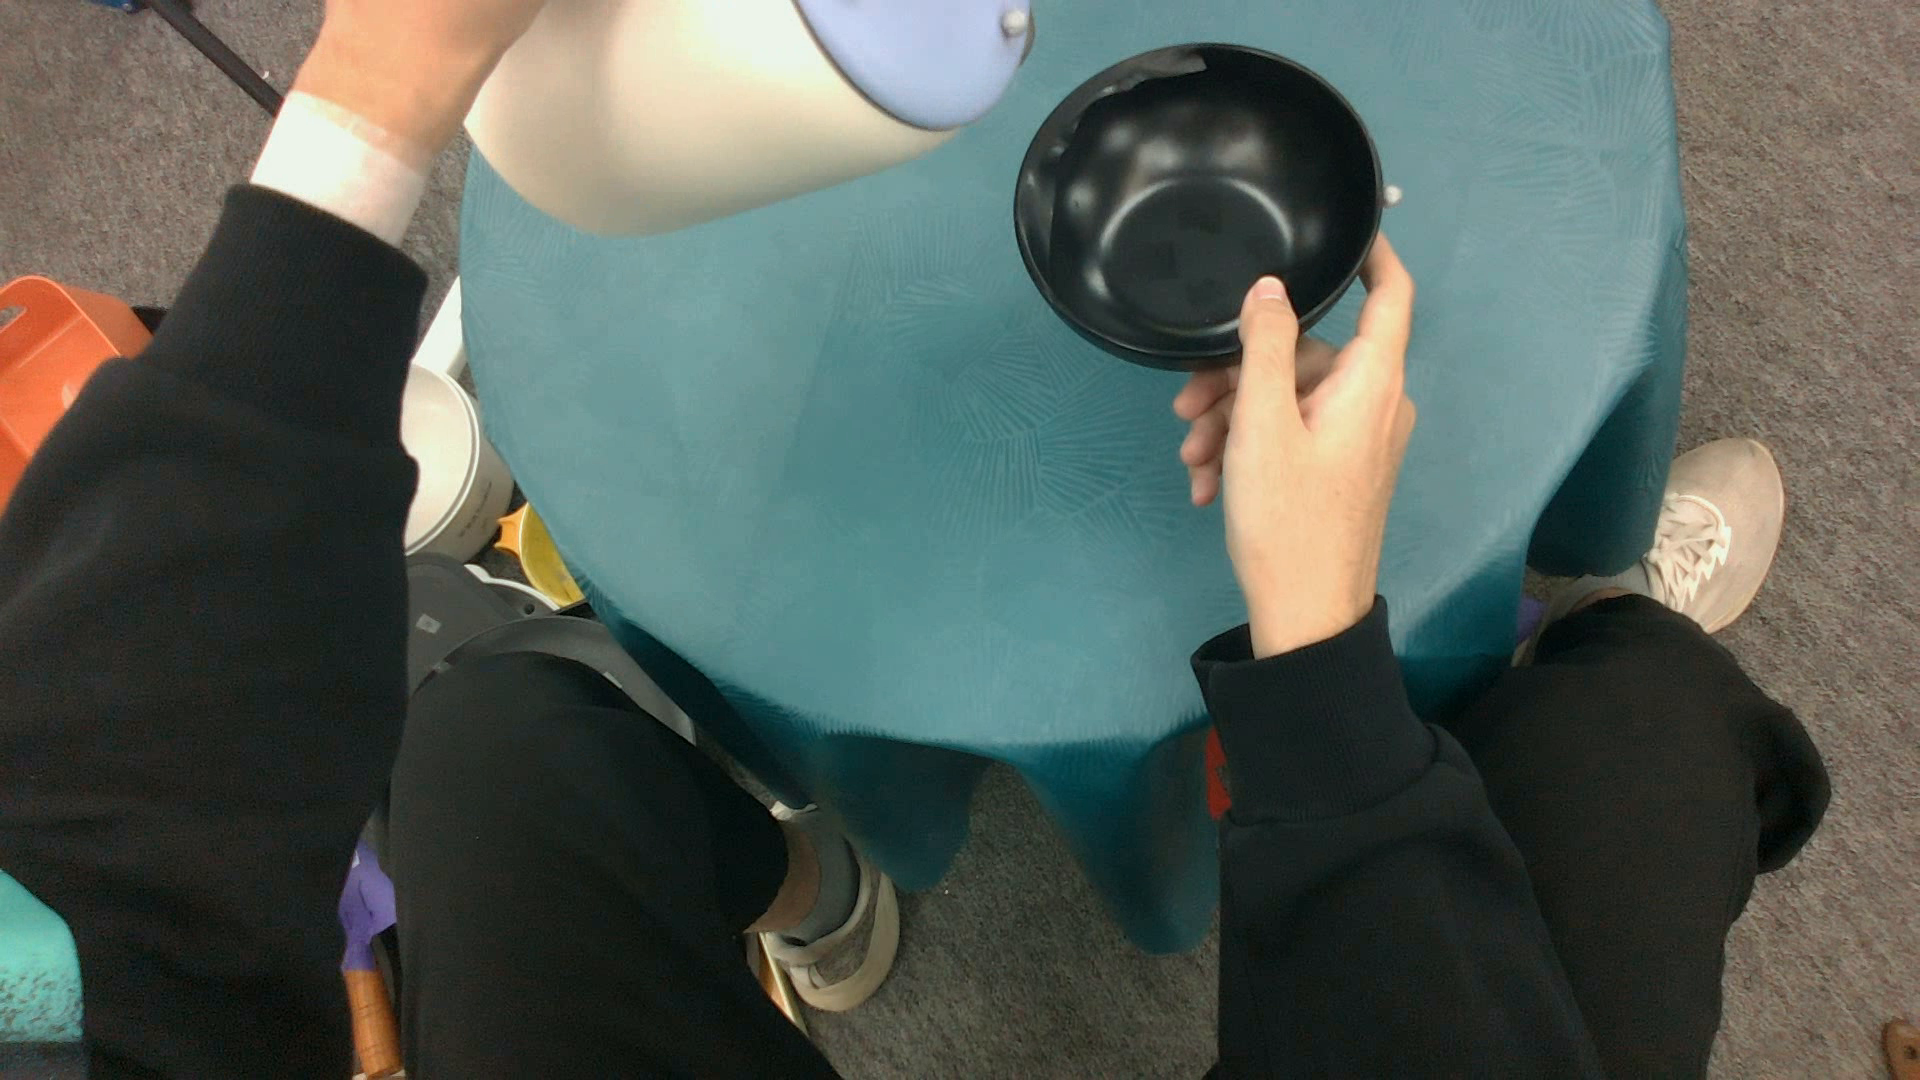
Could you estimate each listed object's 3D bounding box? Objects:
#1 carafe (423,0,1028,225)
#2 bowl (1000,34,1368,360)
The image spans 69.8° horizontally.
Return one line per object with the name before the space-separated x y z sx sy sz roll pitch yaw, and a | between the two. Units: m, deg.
carafe | -0.095 -0.190 0.455 0.182 0.191 0.132 -3 79 37
bowl | 0.088 -0.129 0.548 0.140 0.049 0.140 -3 71 8
